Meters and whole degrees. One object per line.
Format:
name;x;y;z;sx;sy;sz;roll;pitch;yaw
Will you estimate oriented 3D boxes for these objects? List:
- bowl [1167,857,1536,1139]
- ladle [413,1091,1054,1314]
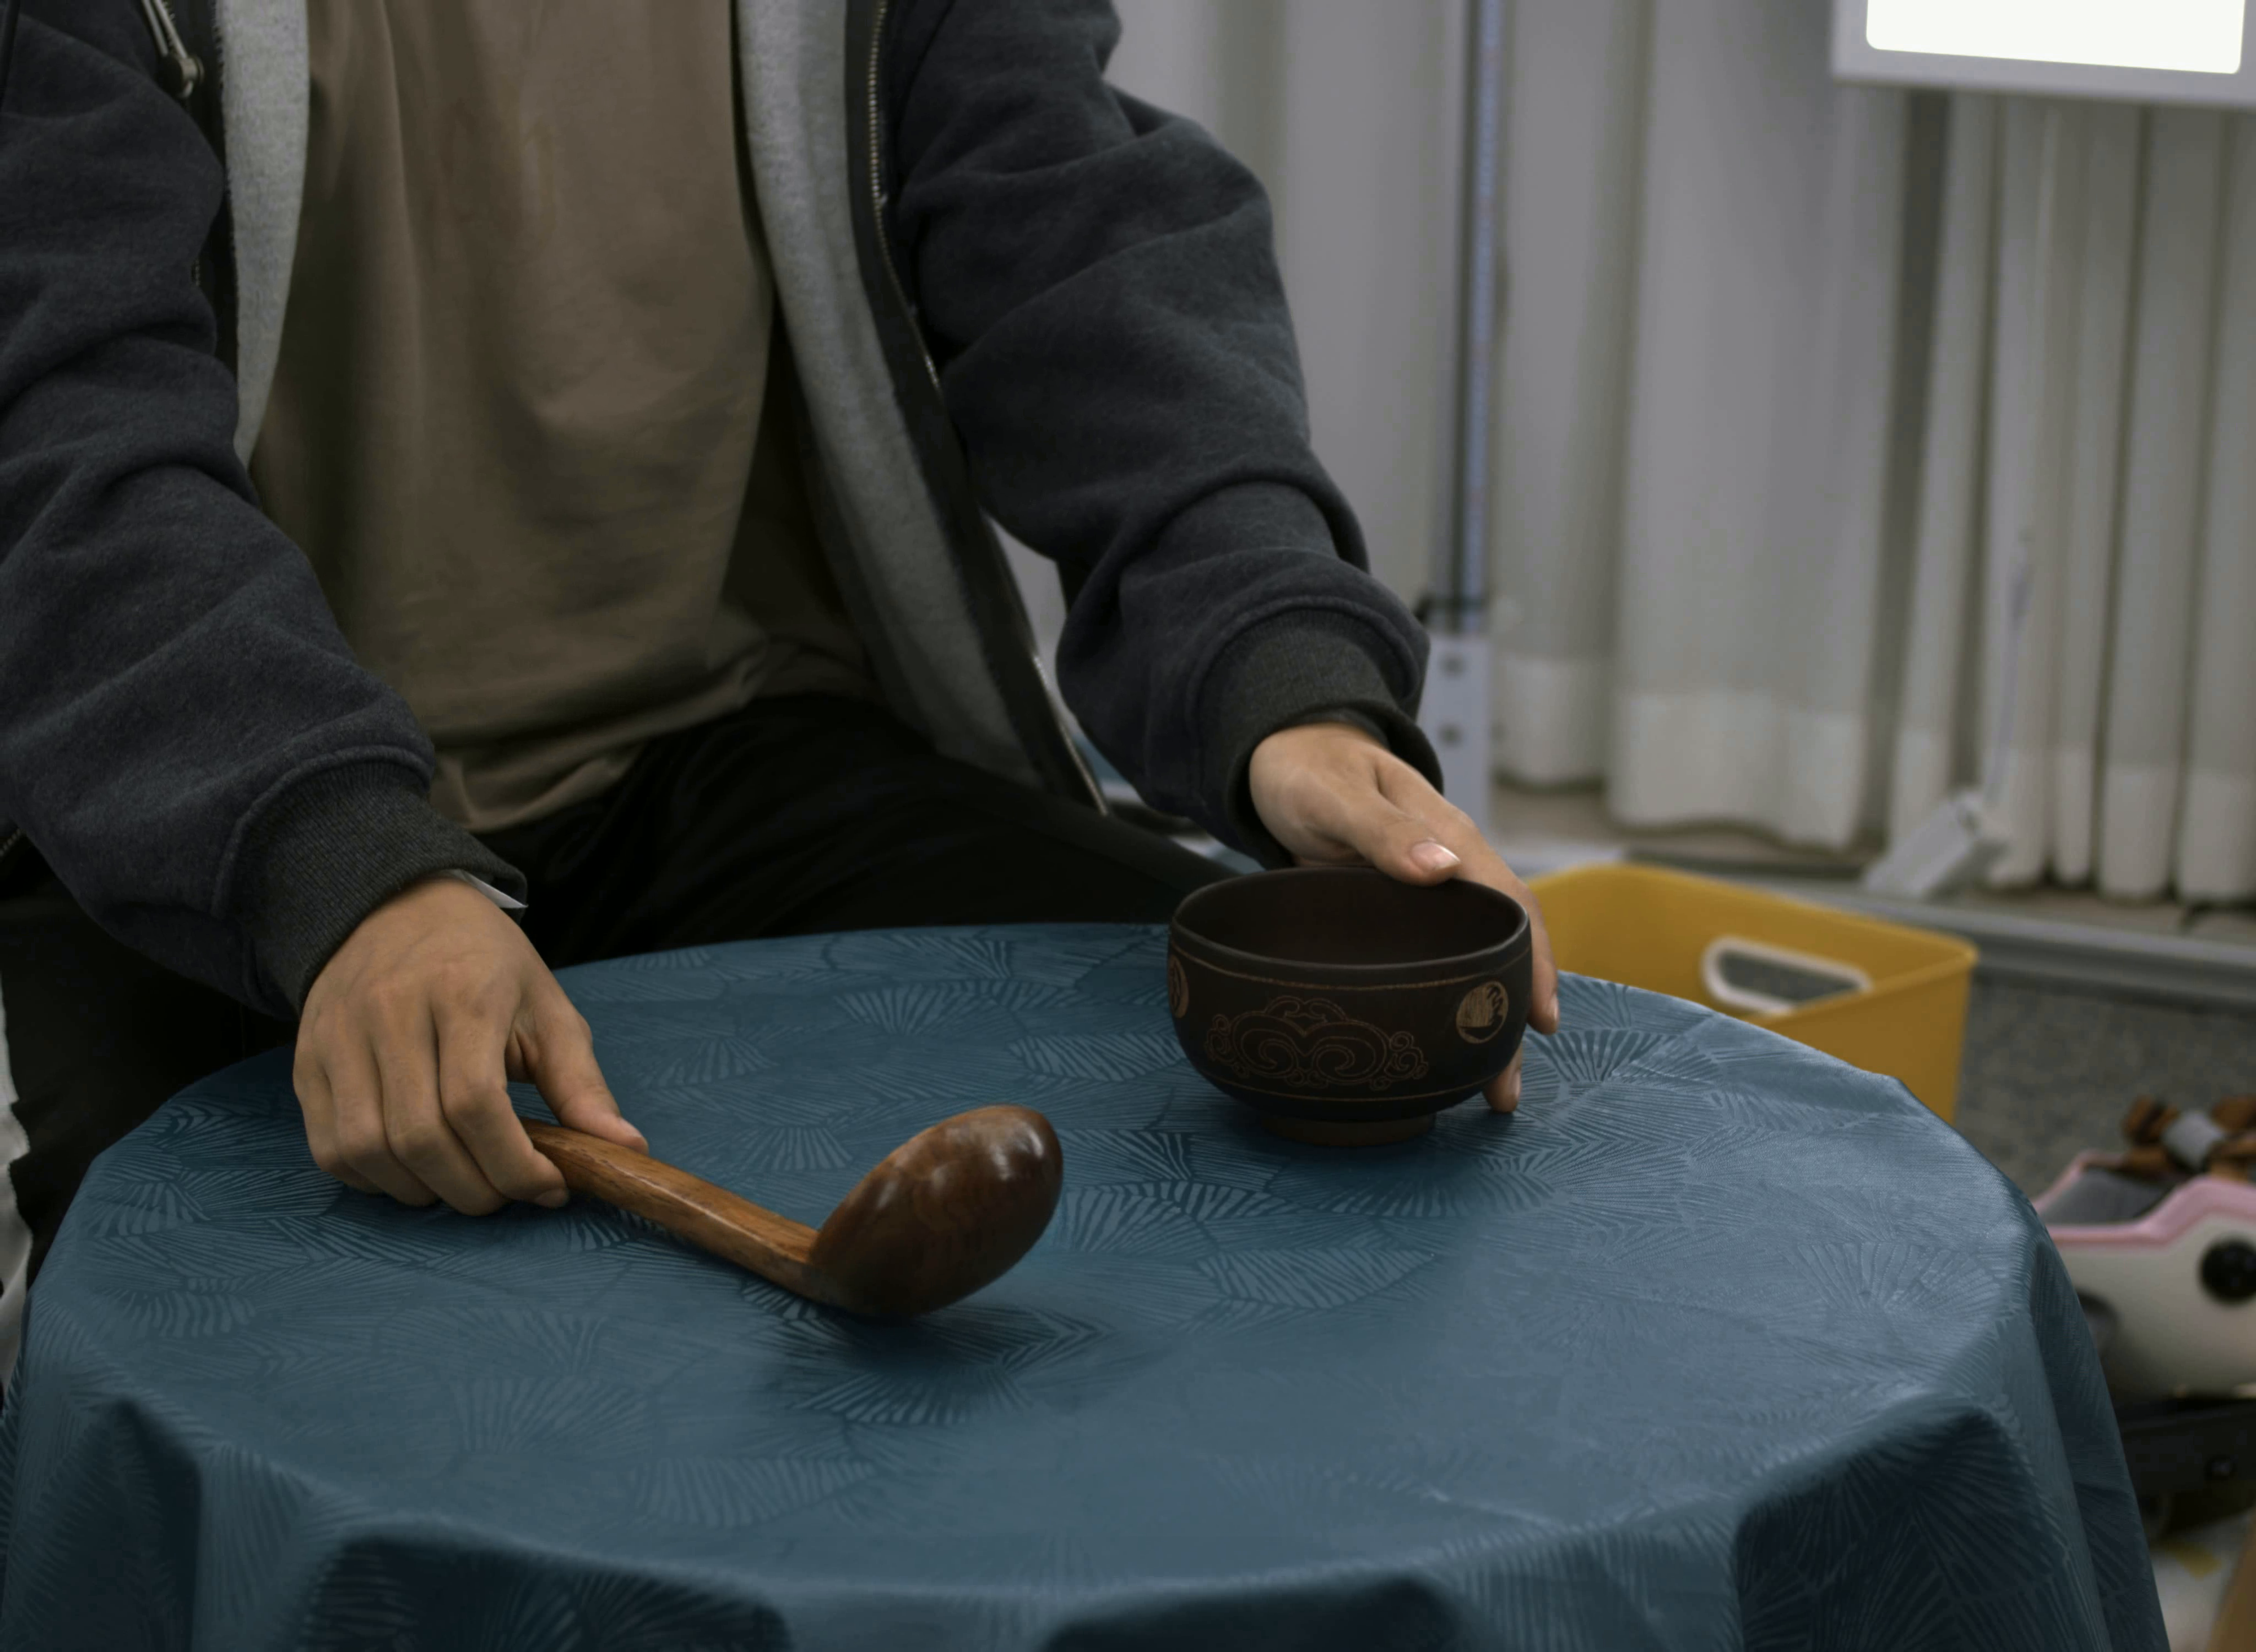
bowl;0.071;0.058;1.680;0.117;0.070;0.117;0;16;0
ladle;-0.129;0.087;1.561;0.082;0.077;0.270;-10;18;-42
